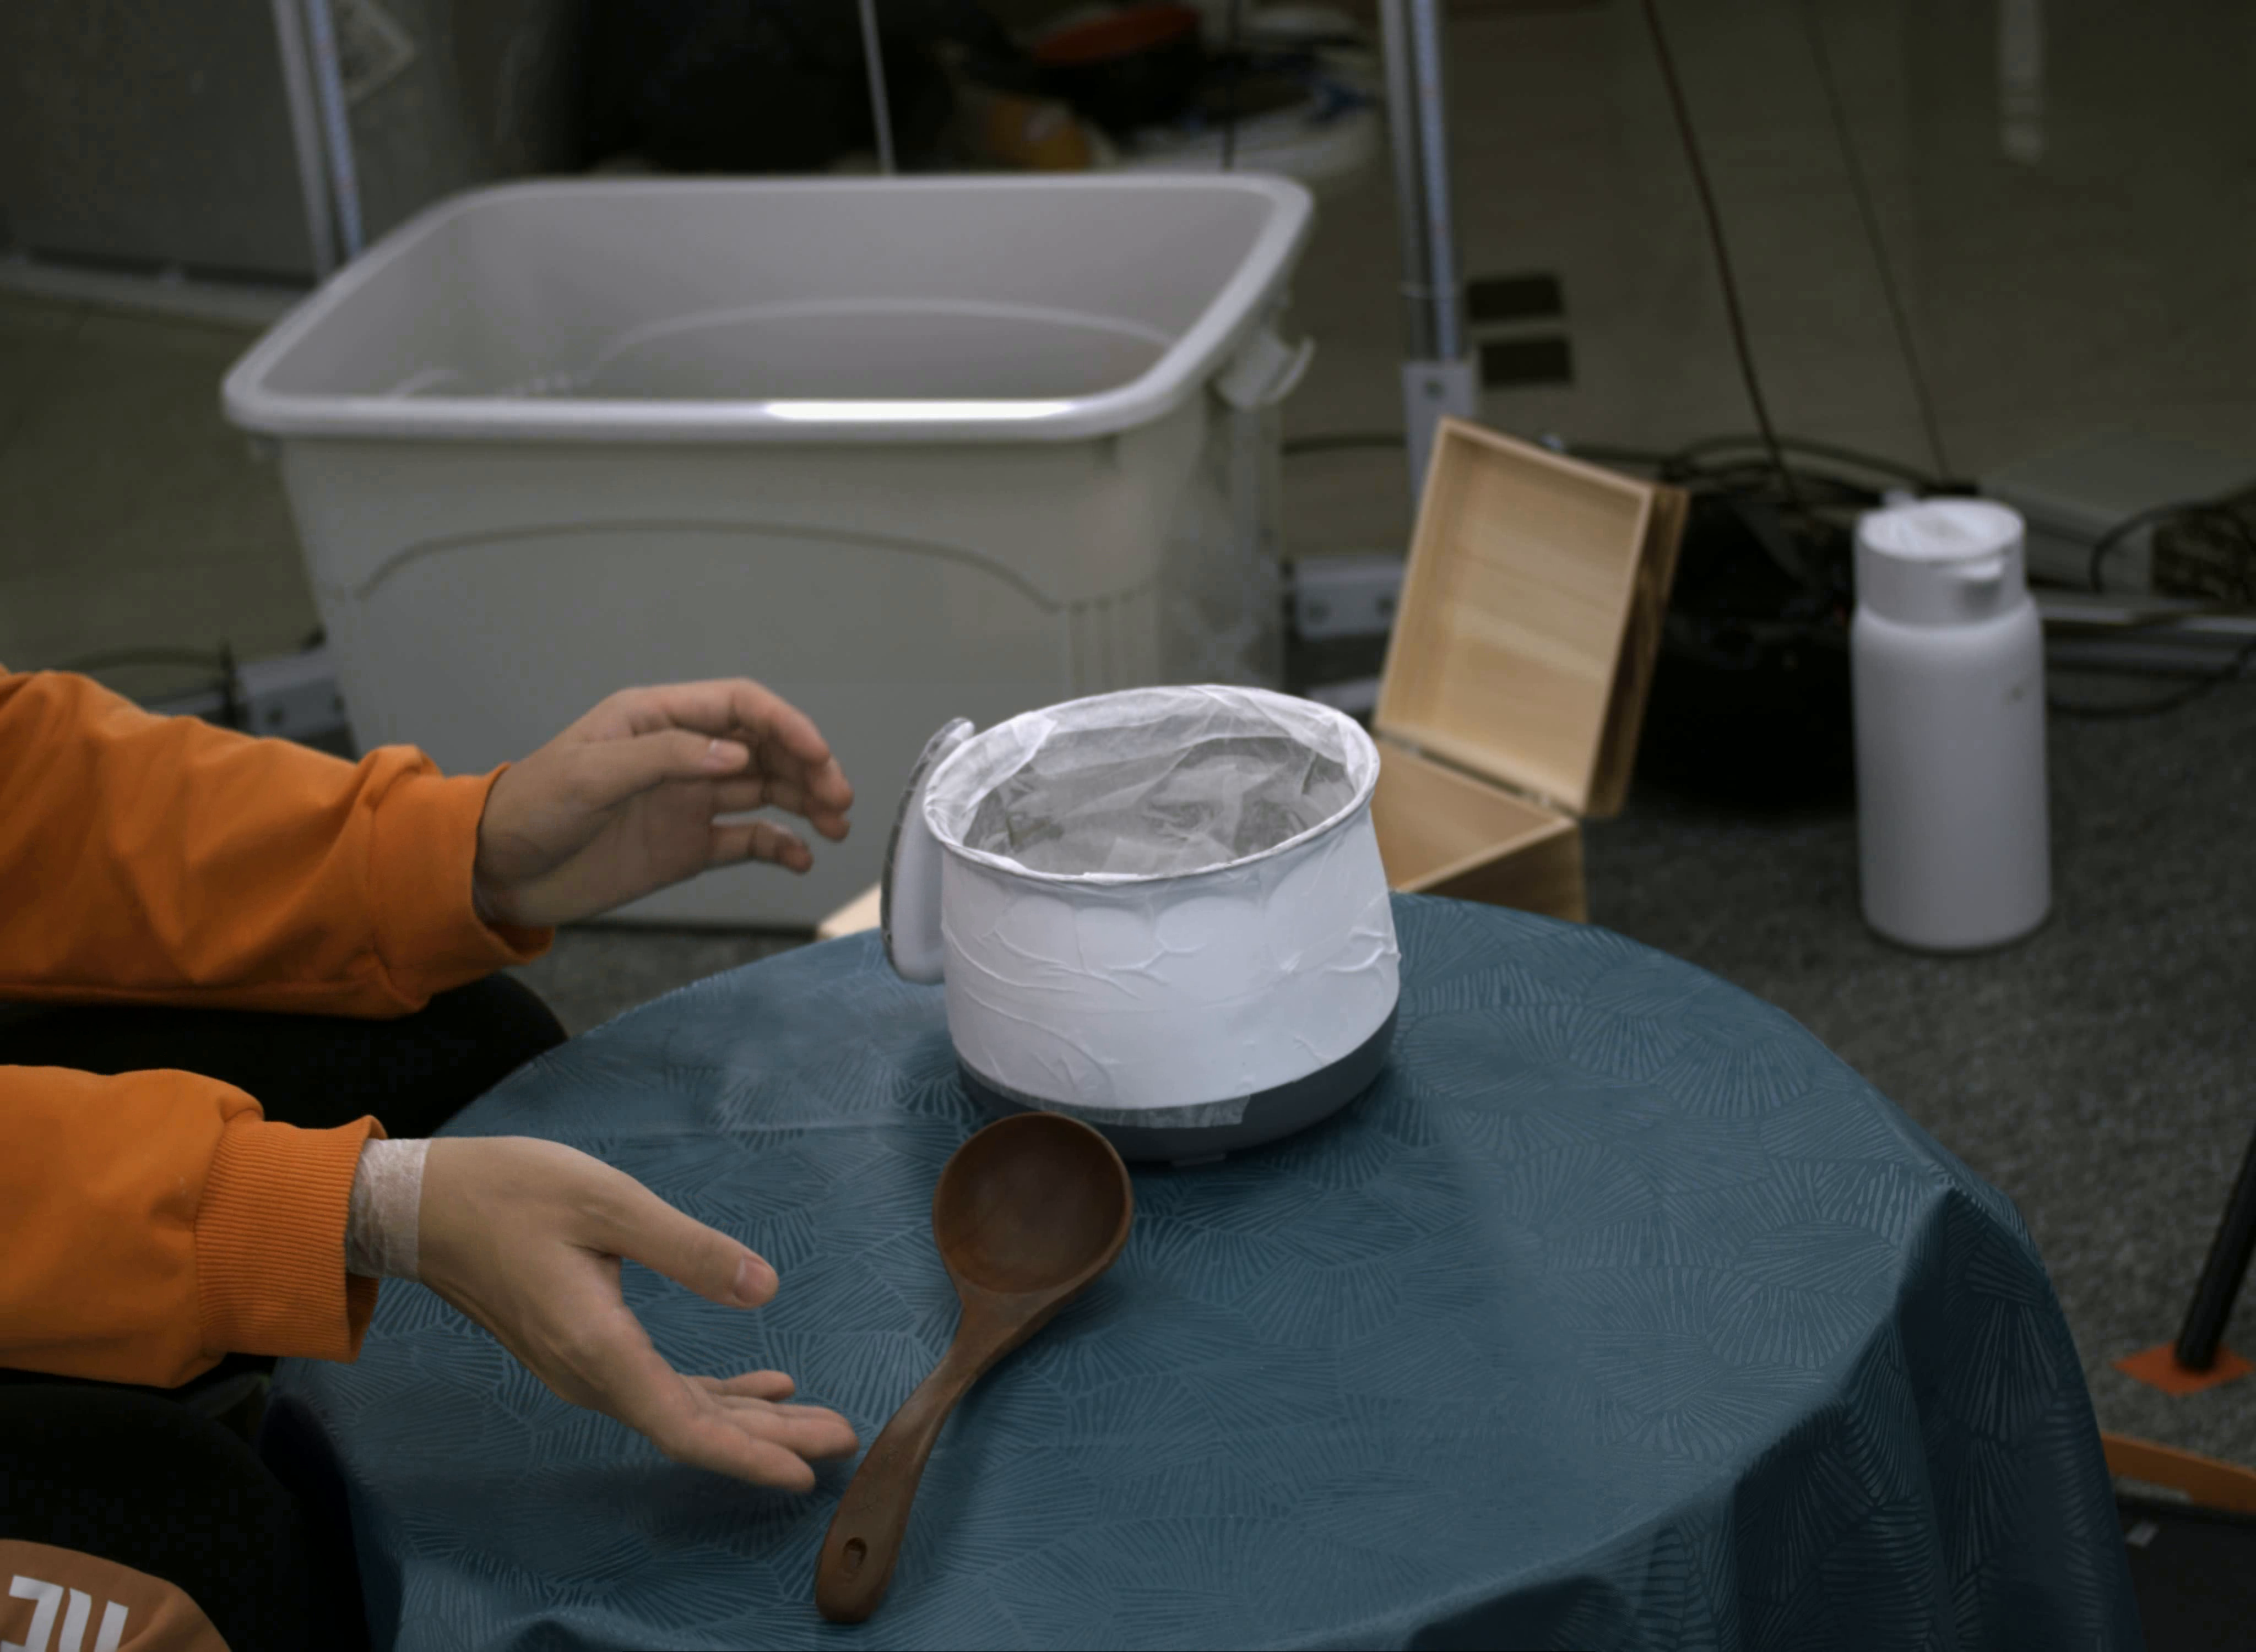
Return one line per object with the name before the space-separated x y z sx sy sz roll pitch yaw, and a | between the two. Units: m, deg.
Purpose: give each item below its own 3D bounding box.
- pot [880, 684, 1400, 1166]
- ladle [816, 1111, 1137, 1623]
pot | -0.007 0.033 2.208 0.232 0.139 0.177 15 32 36
ladle | -0.062 0.184 1.989 0.076 0.066 0.256 0 25 19
